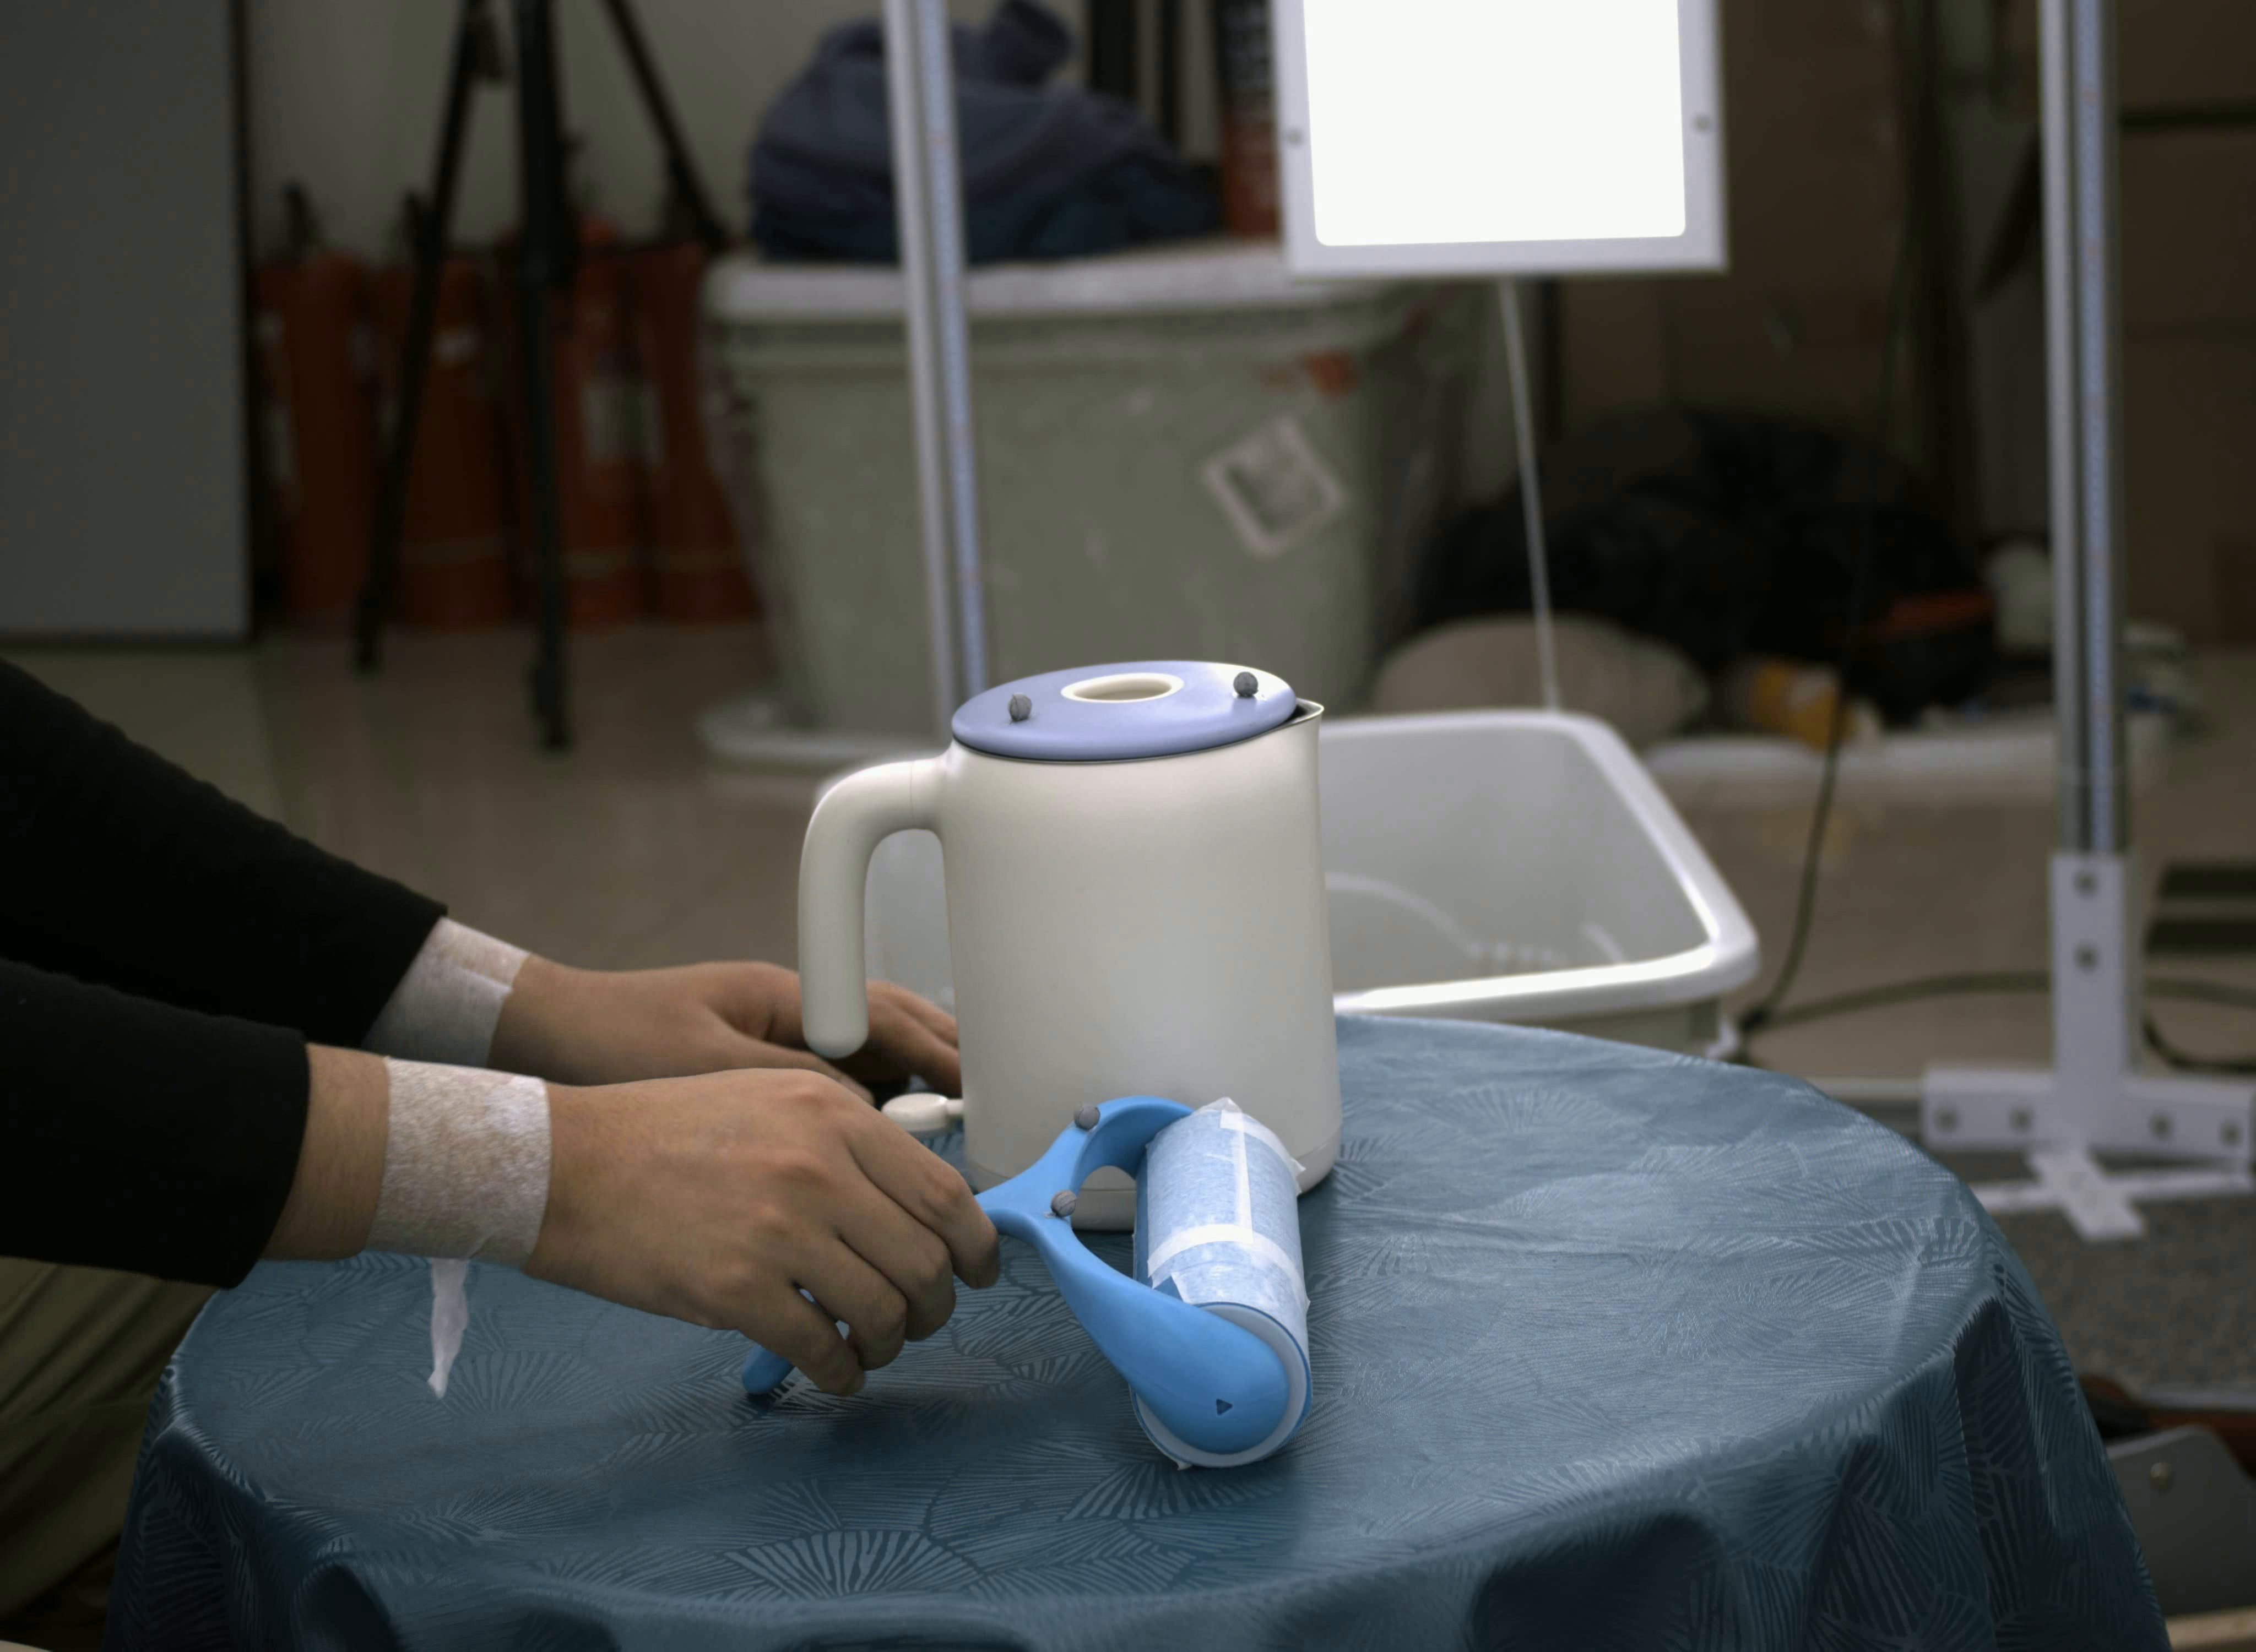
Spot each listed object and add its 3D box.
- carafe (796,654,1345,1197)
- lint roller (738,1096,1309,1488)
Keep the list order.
[{"bbox_3d":[-0.020,0.041,1.892,0.191,0.183,0.131,-5,13,6],"label":"carafe"},{"bbox_3d":[-0.032,0.143,1.717,0.180,0.068,0.228,0,17,-1],"label":"lint roller"}]
